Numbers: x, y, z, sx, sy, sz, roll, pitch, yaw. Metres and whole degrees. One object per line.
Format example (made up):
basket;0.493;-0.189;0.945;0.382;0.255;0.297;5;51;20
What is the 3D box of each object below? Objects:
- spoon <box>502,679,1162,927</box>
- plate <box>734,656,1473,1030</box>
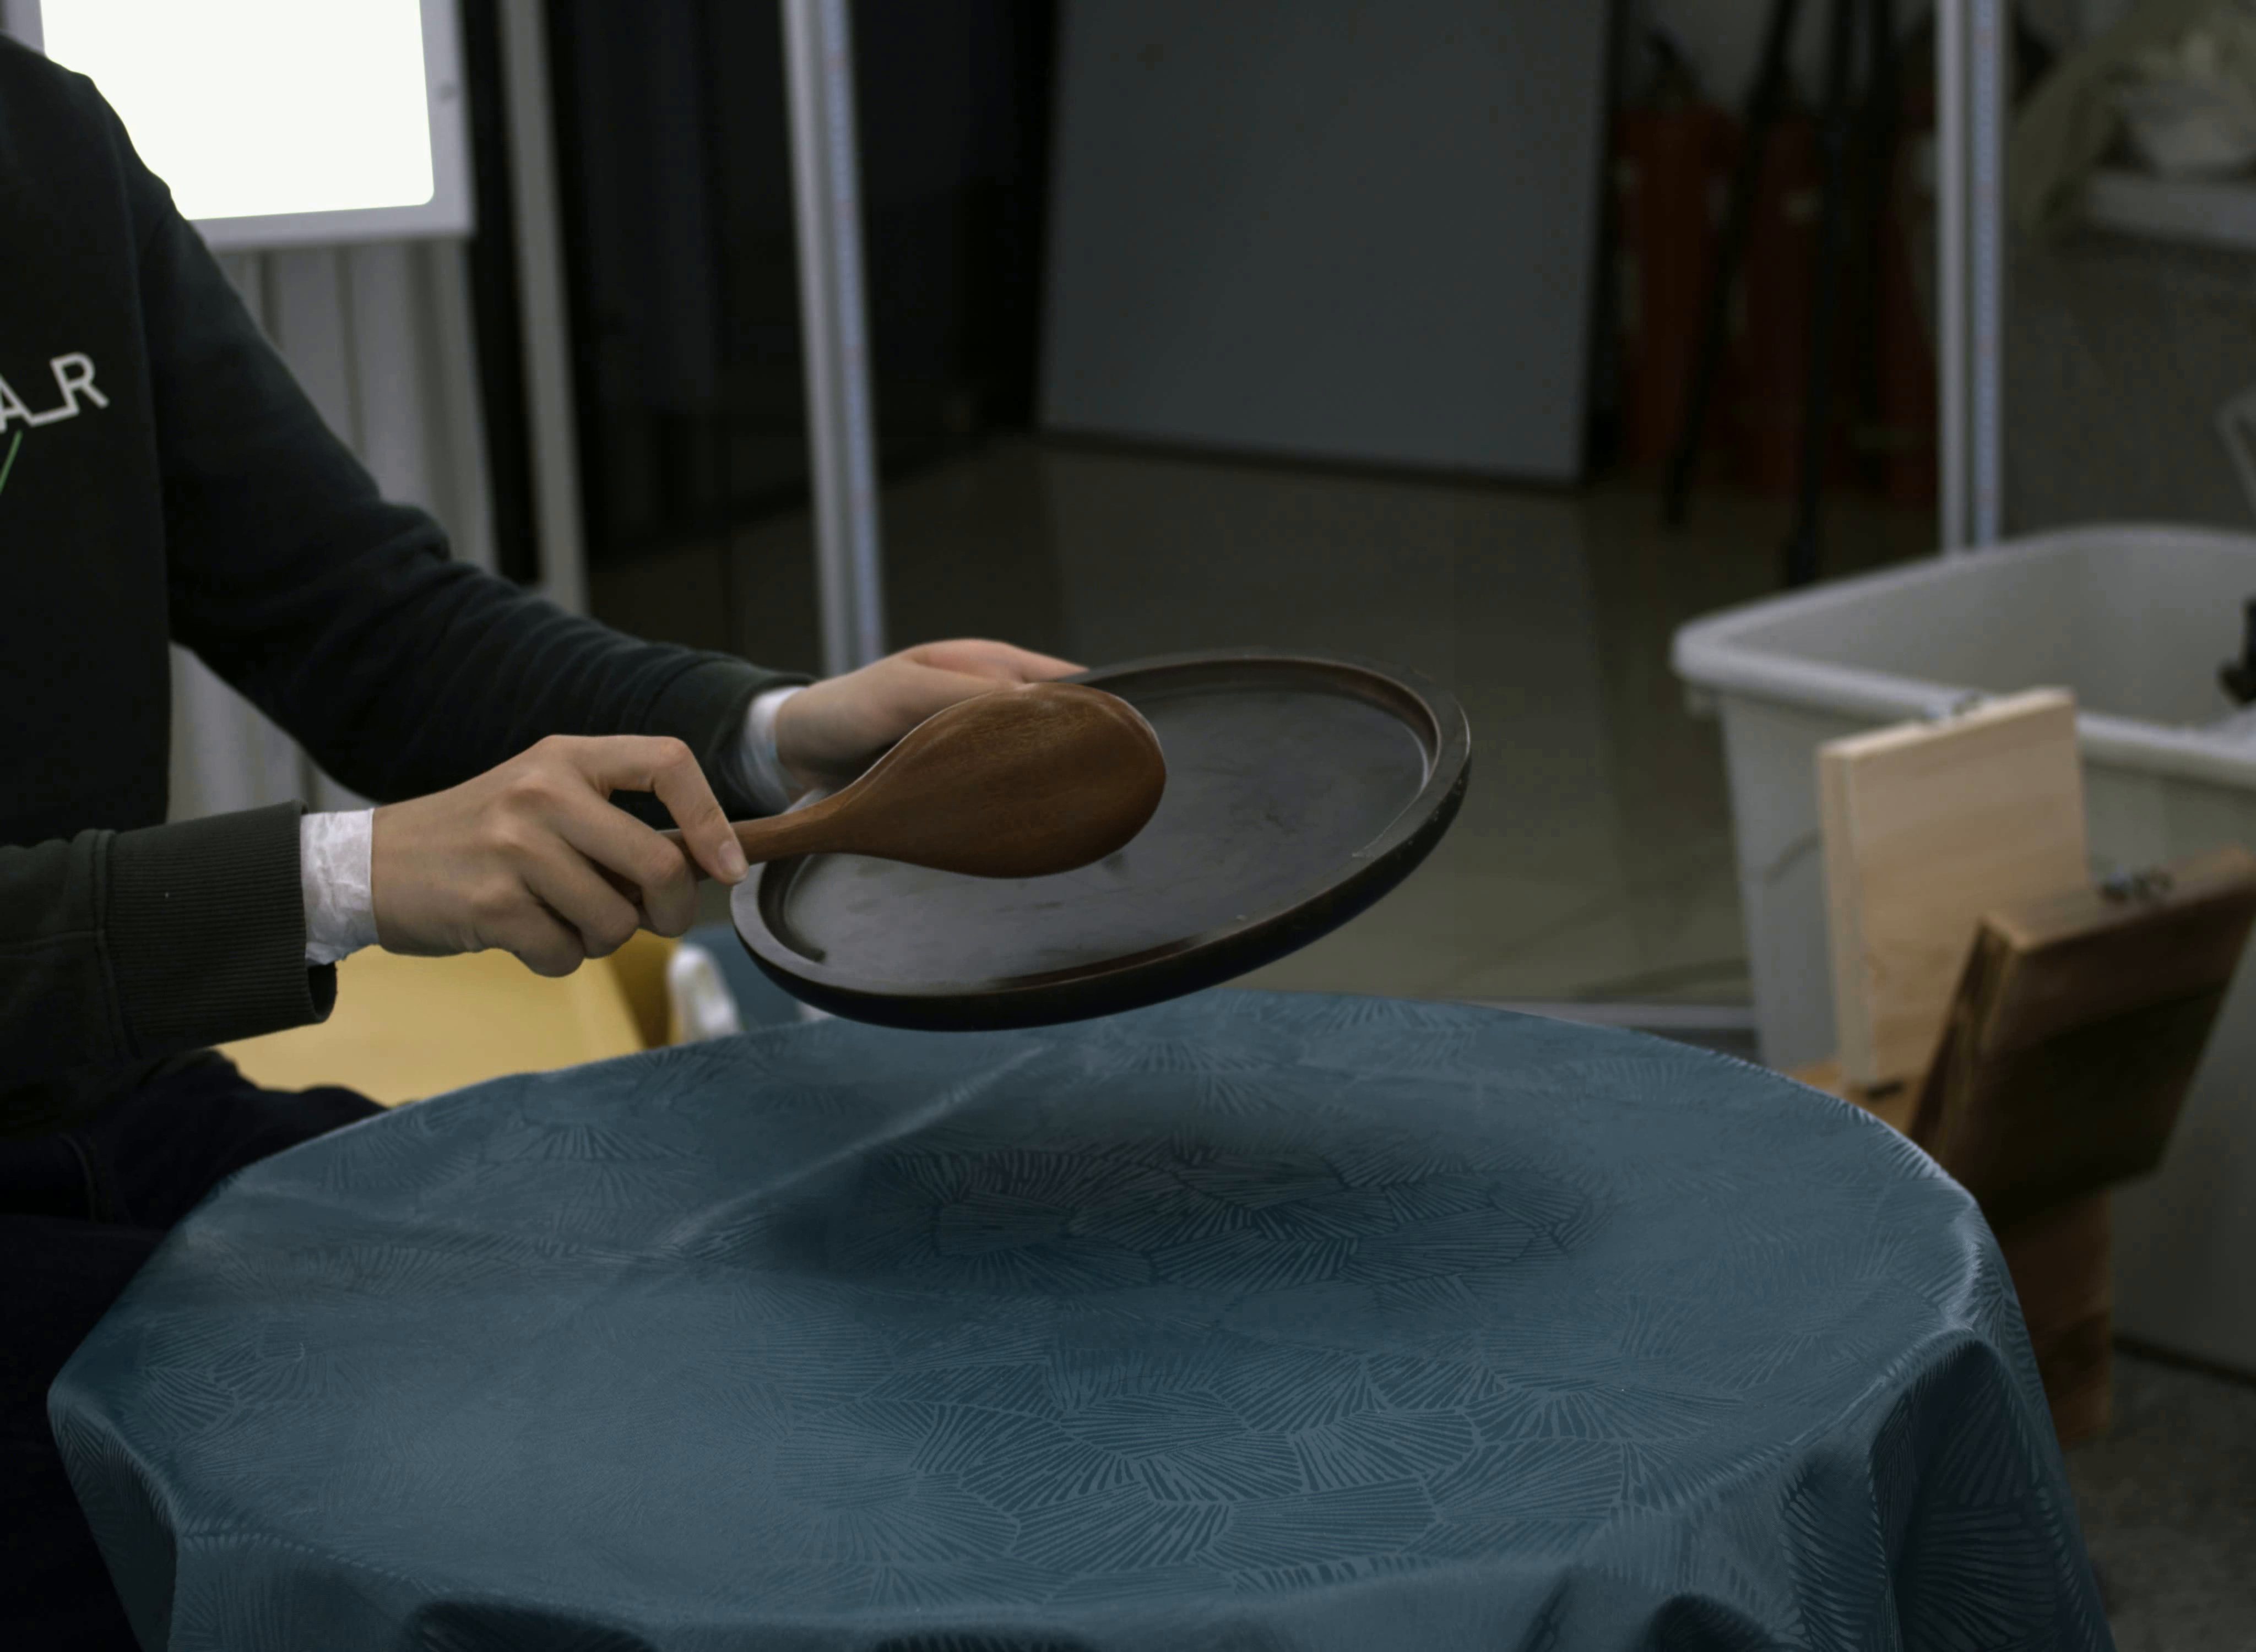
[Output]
spoon;-0.093;0.001;1.700;0.214;0.075;0.017;-12;38;8
plate;-0.007;0.003;1.776;0.252;0.029;0.255;-13;22;4
